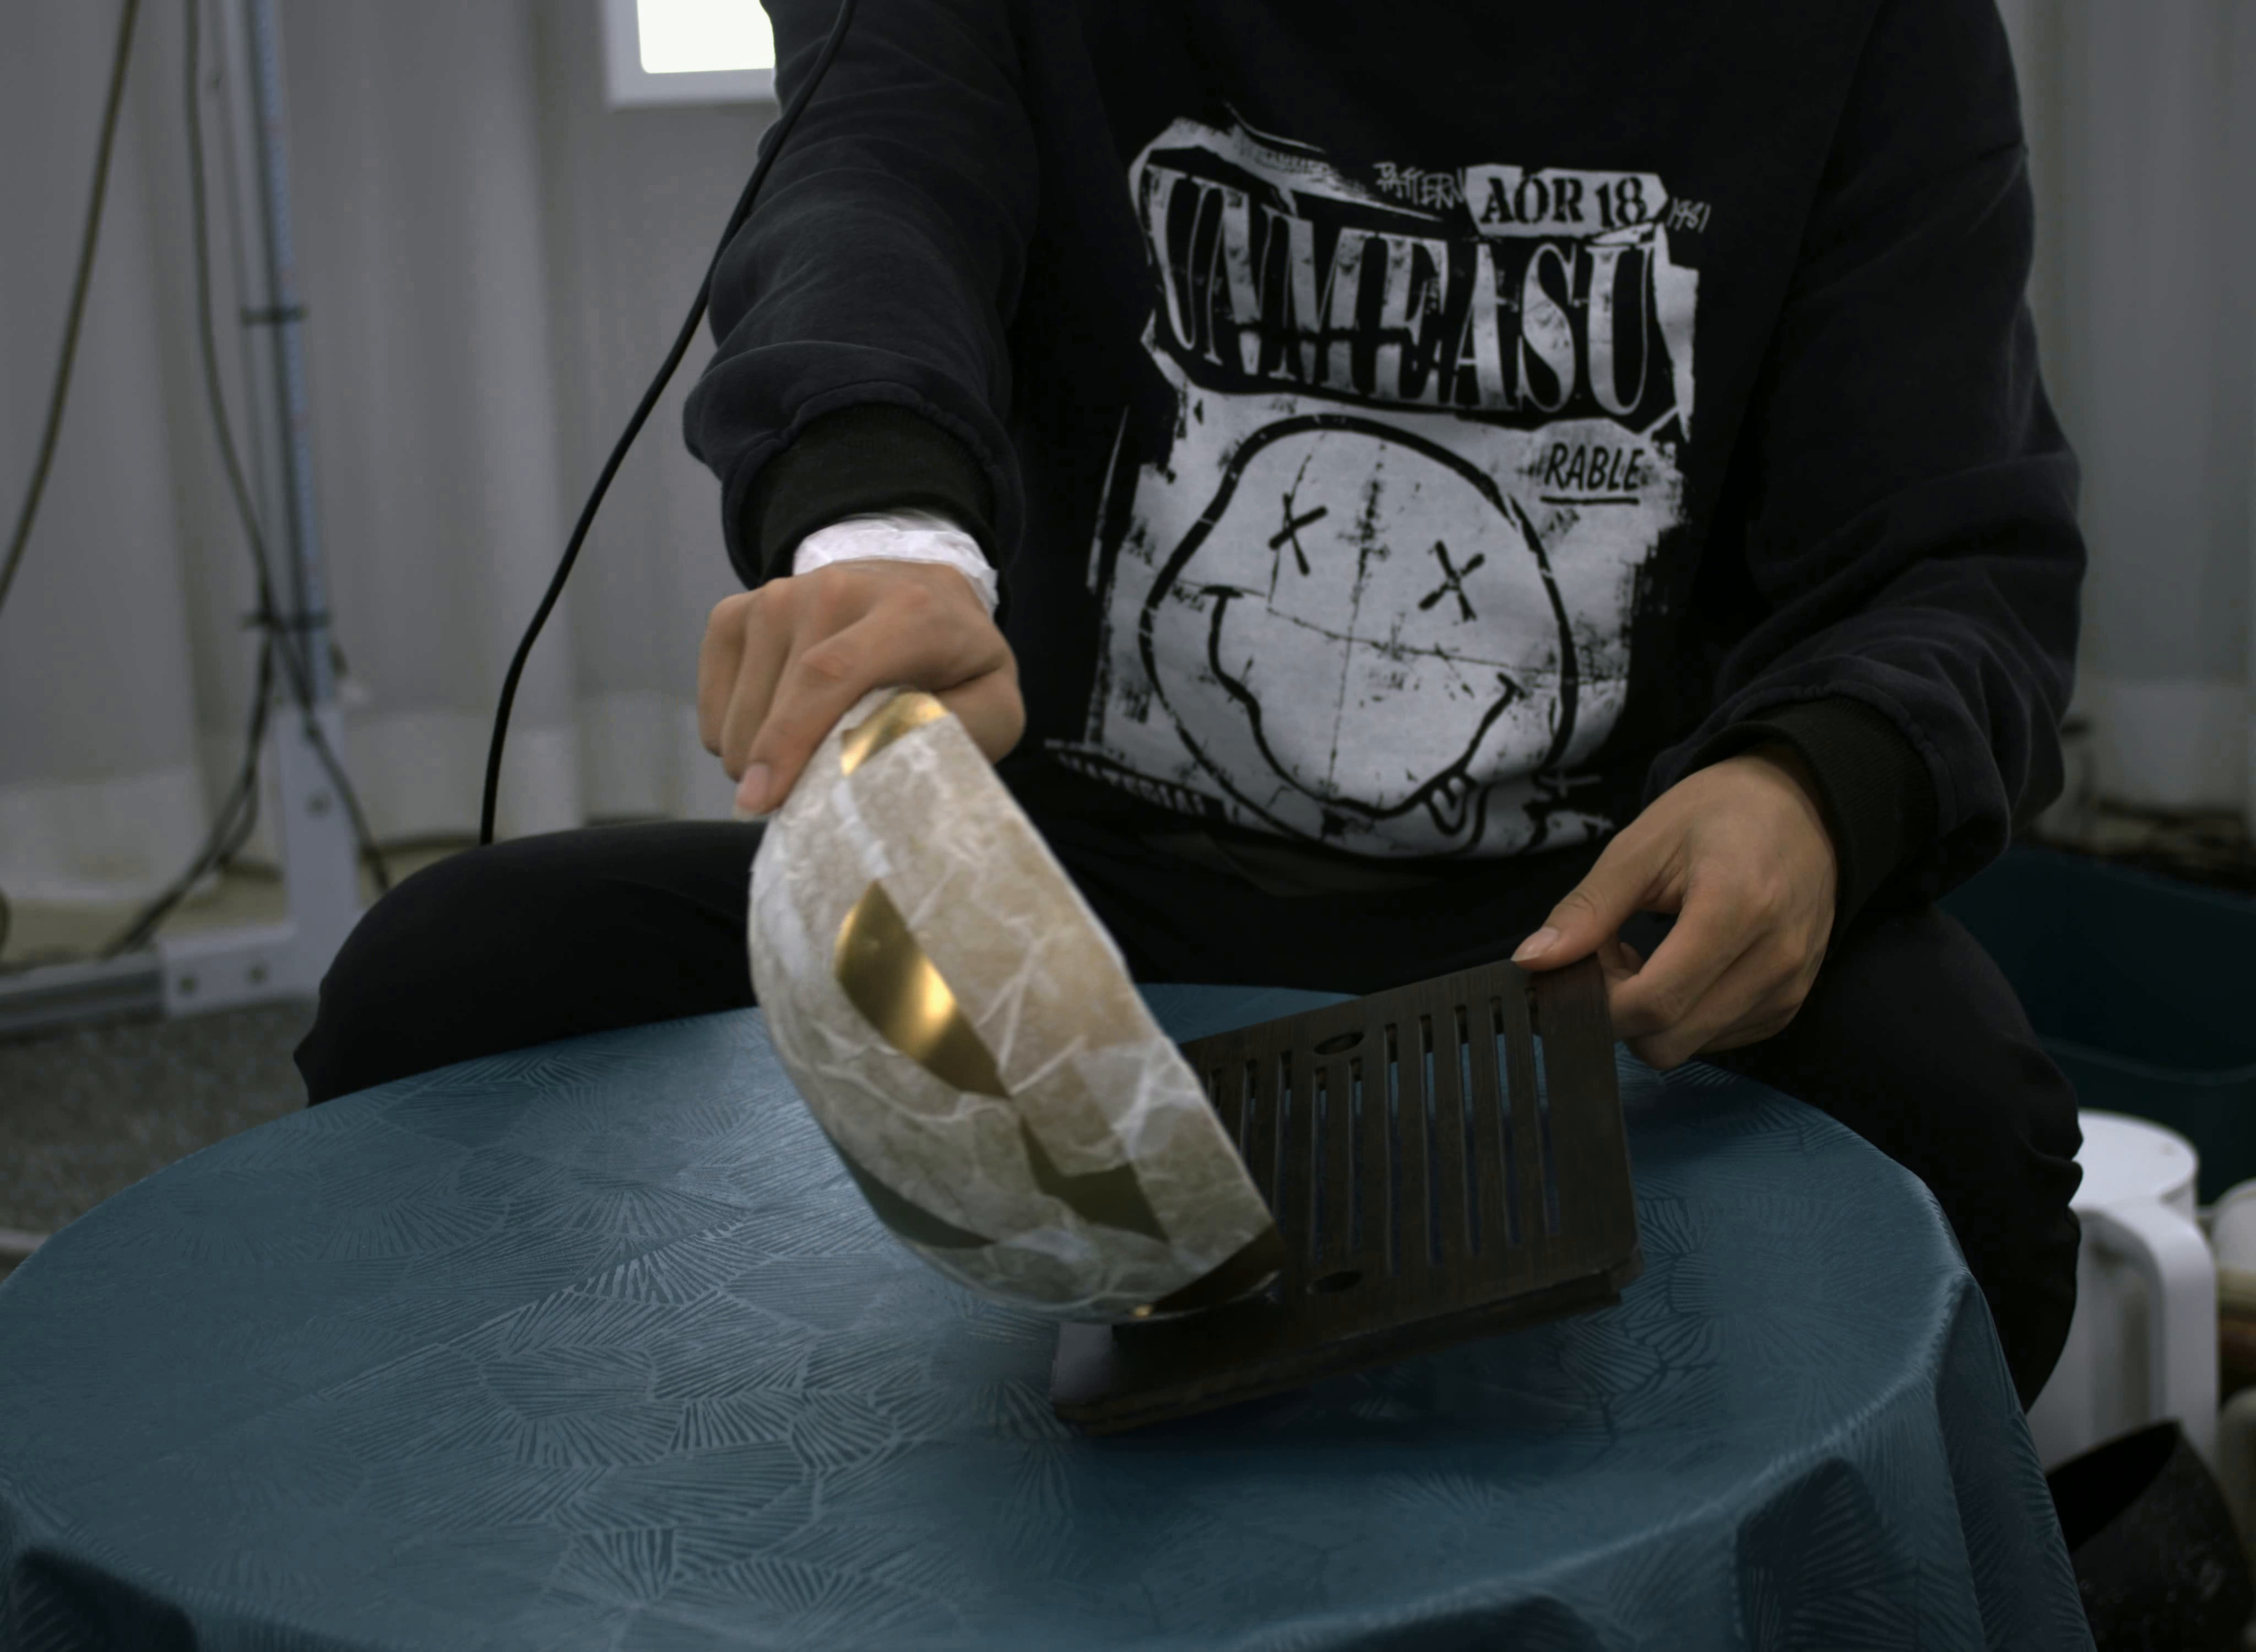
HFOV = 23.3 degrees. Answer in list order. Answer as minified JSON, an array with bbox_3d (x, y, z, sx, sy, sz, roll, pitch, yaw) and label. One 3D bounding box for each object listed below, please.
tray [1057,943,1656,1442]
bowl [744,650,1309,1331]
[{"bbox_3d":[0.069,0.106,1.632,0.169,0.018,0.308,-15,14,7],"label":"tray"},{"bbox_3d":[-0.045,0.065,1.525,0.094,0.213,0.216,-33,19,-3],"label":"bowl"}]
